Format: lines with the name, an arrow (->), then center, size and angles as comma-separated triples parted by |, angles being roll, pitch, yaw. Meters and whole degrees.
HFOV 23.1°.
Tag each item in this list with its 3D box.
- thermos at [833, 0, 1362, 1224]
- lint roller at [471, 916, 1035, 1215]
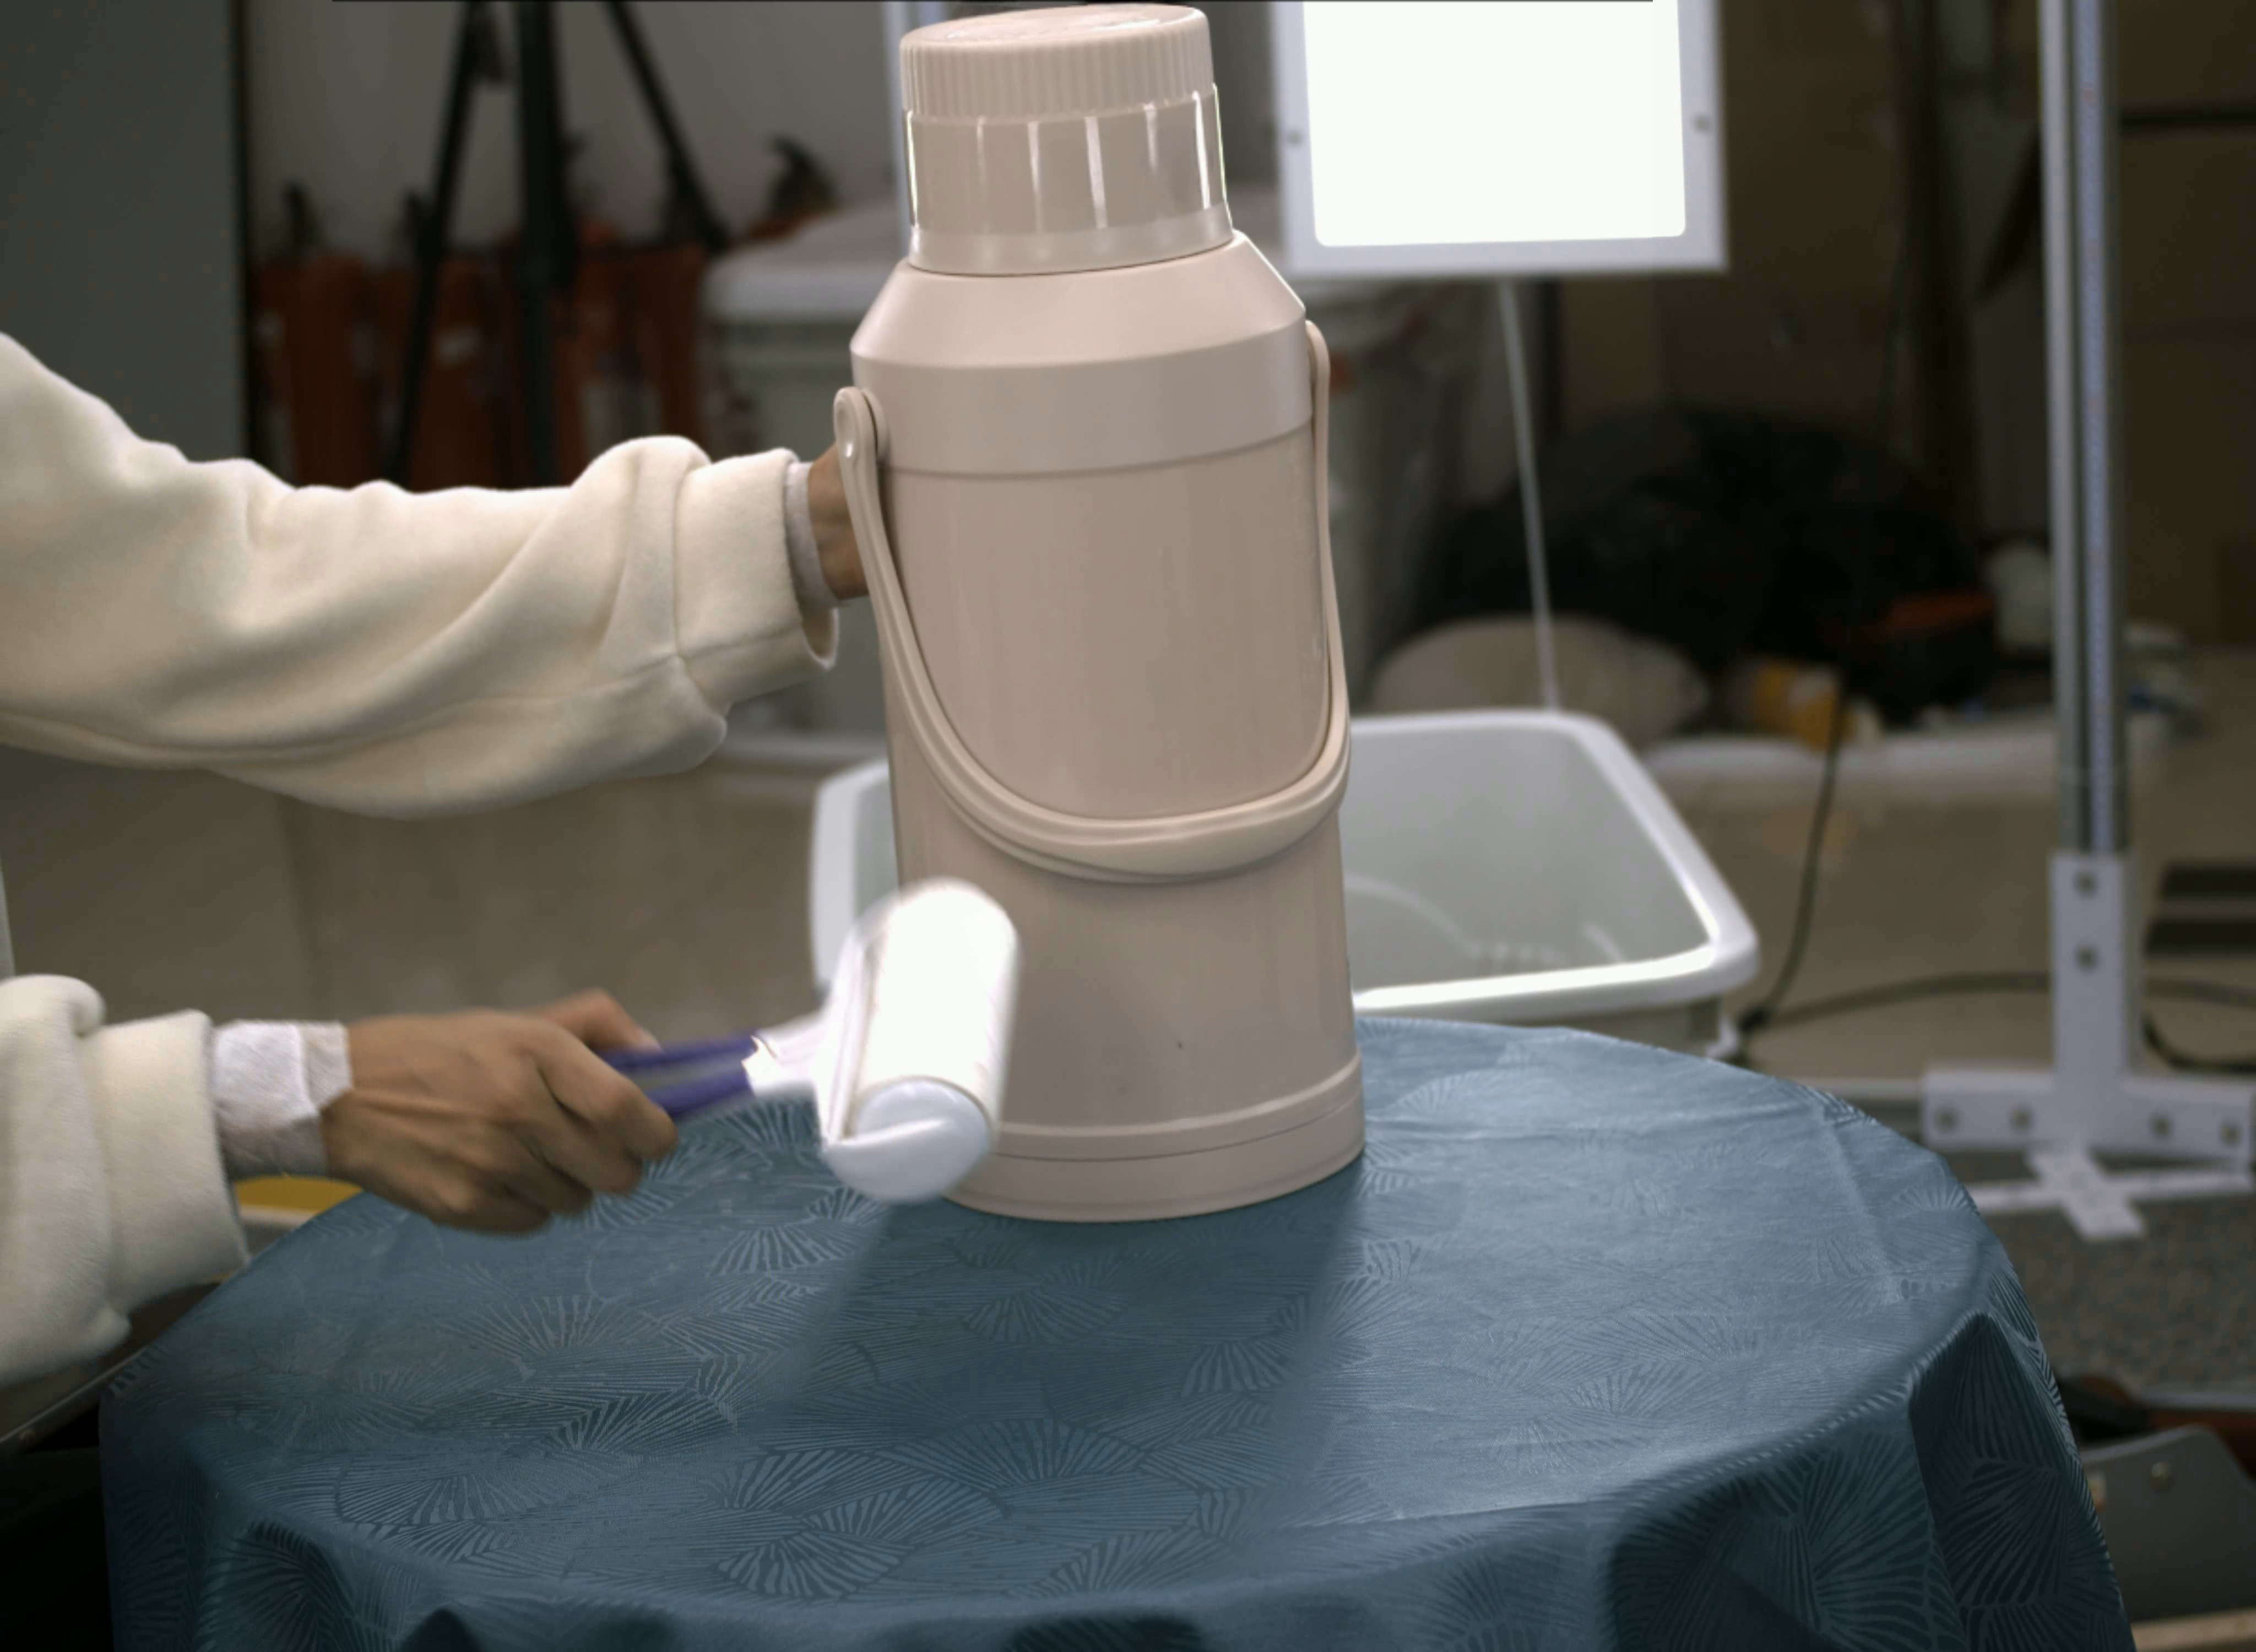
thermos -> -0.014, -0.078, 1.904 | 0.172, 0.408, 0.210 | -10, 15, -21
lint roller -> -0.121, 0.076, 1.741 | 0.182, 0.050, 0.132 | -1, 32, 10
